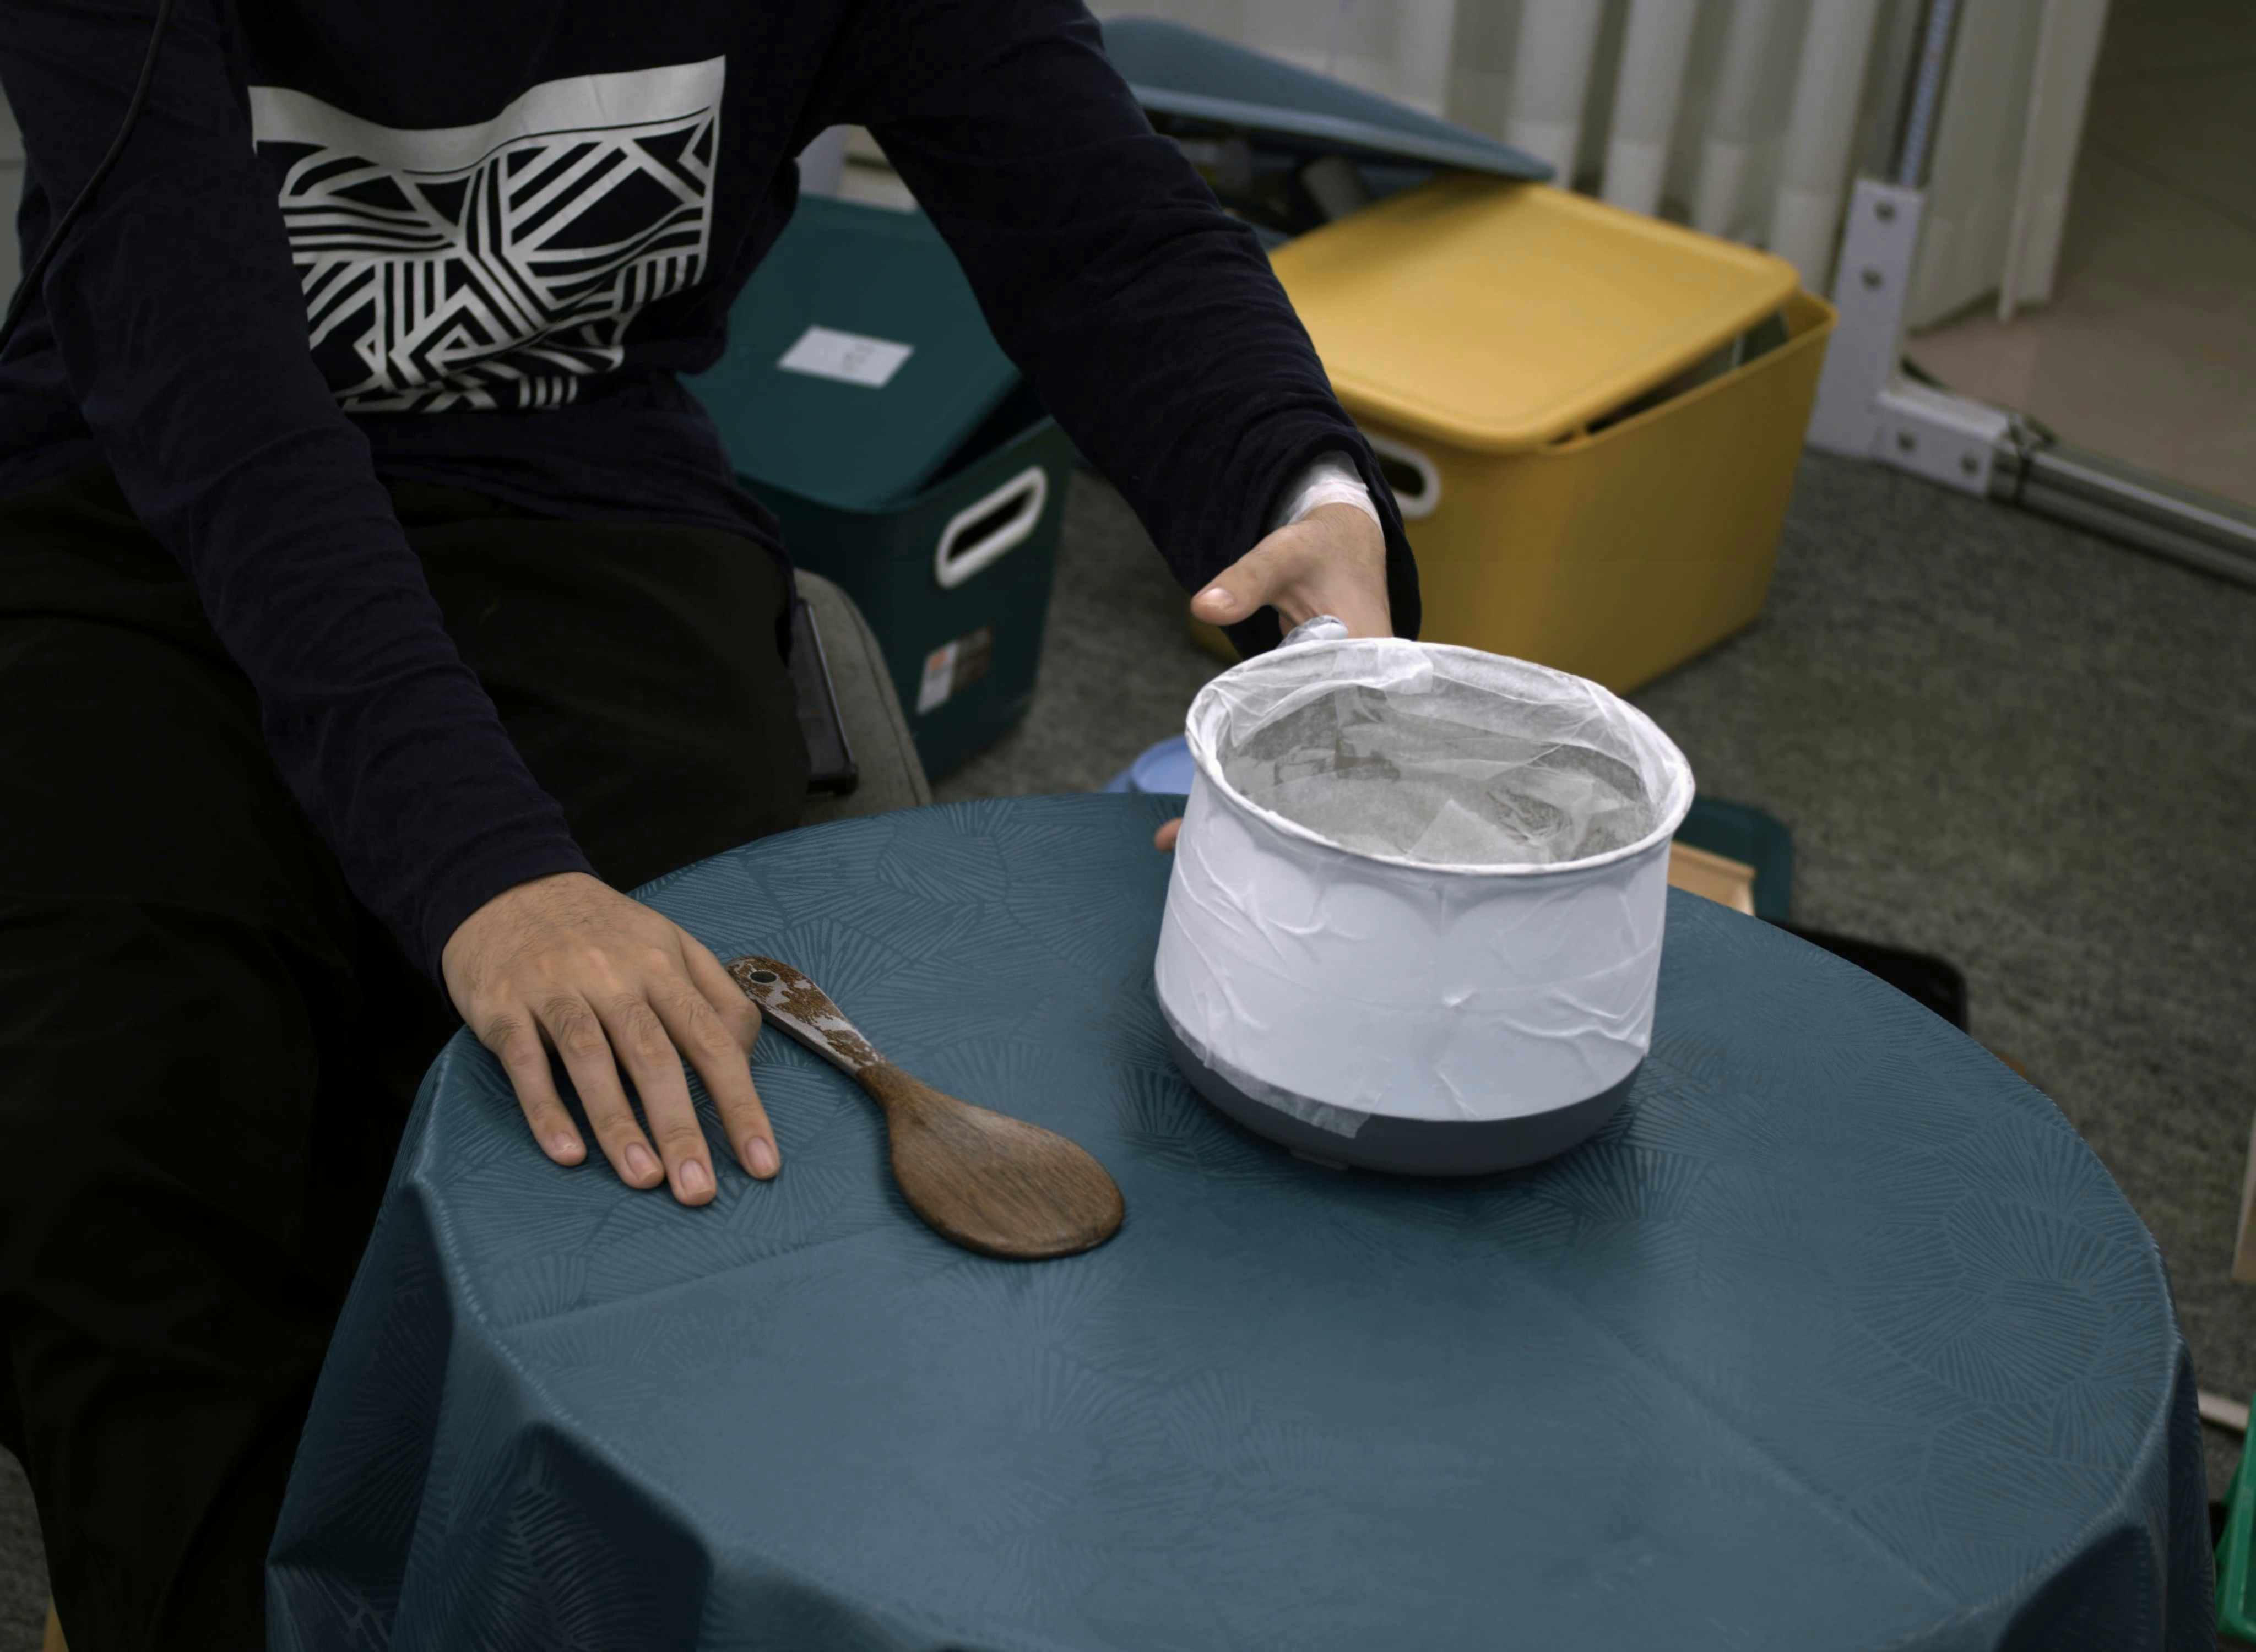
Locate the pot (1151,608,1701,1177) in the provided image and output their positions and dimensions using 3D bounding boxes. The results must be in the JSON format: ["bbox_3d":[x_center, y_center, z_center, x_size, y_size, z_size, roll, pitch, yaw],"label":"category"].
[{"bbox_3d":[0.090,0.016,1.884,0.177,0.136,0.236,-3,29,-24],"label":"pot"}]

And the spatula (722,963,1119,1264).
[{"bbox_3d":[-0.079,0.095,1.840,0.071,0.009,0.217,-10,30,-33],"label":"spatula"}]
